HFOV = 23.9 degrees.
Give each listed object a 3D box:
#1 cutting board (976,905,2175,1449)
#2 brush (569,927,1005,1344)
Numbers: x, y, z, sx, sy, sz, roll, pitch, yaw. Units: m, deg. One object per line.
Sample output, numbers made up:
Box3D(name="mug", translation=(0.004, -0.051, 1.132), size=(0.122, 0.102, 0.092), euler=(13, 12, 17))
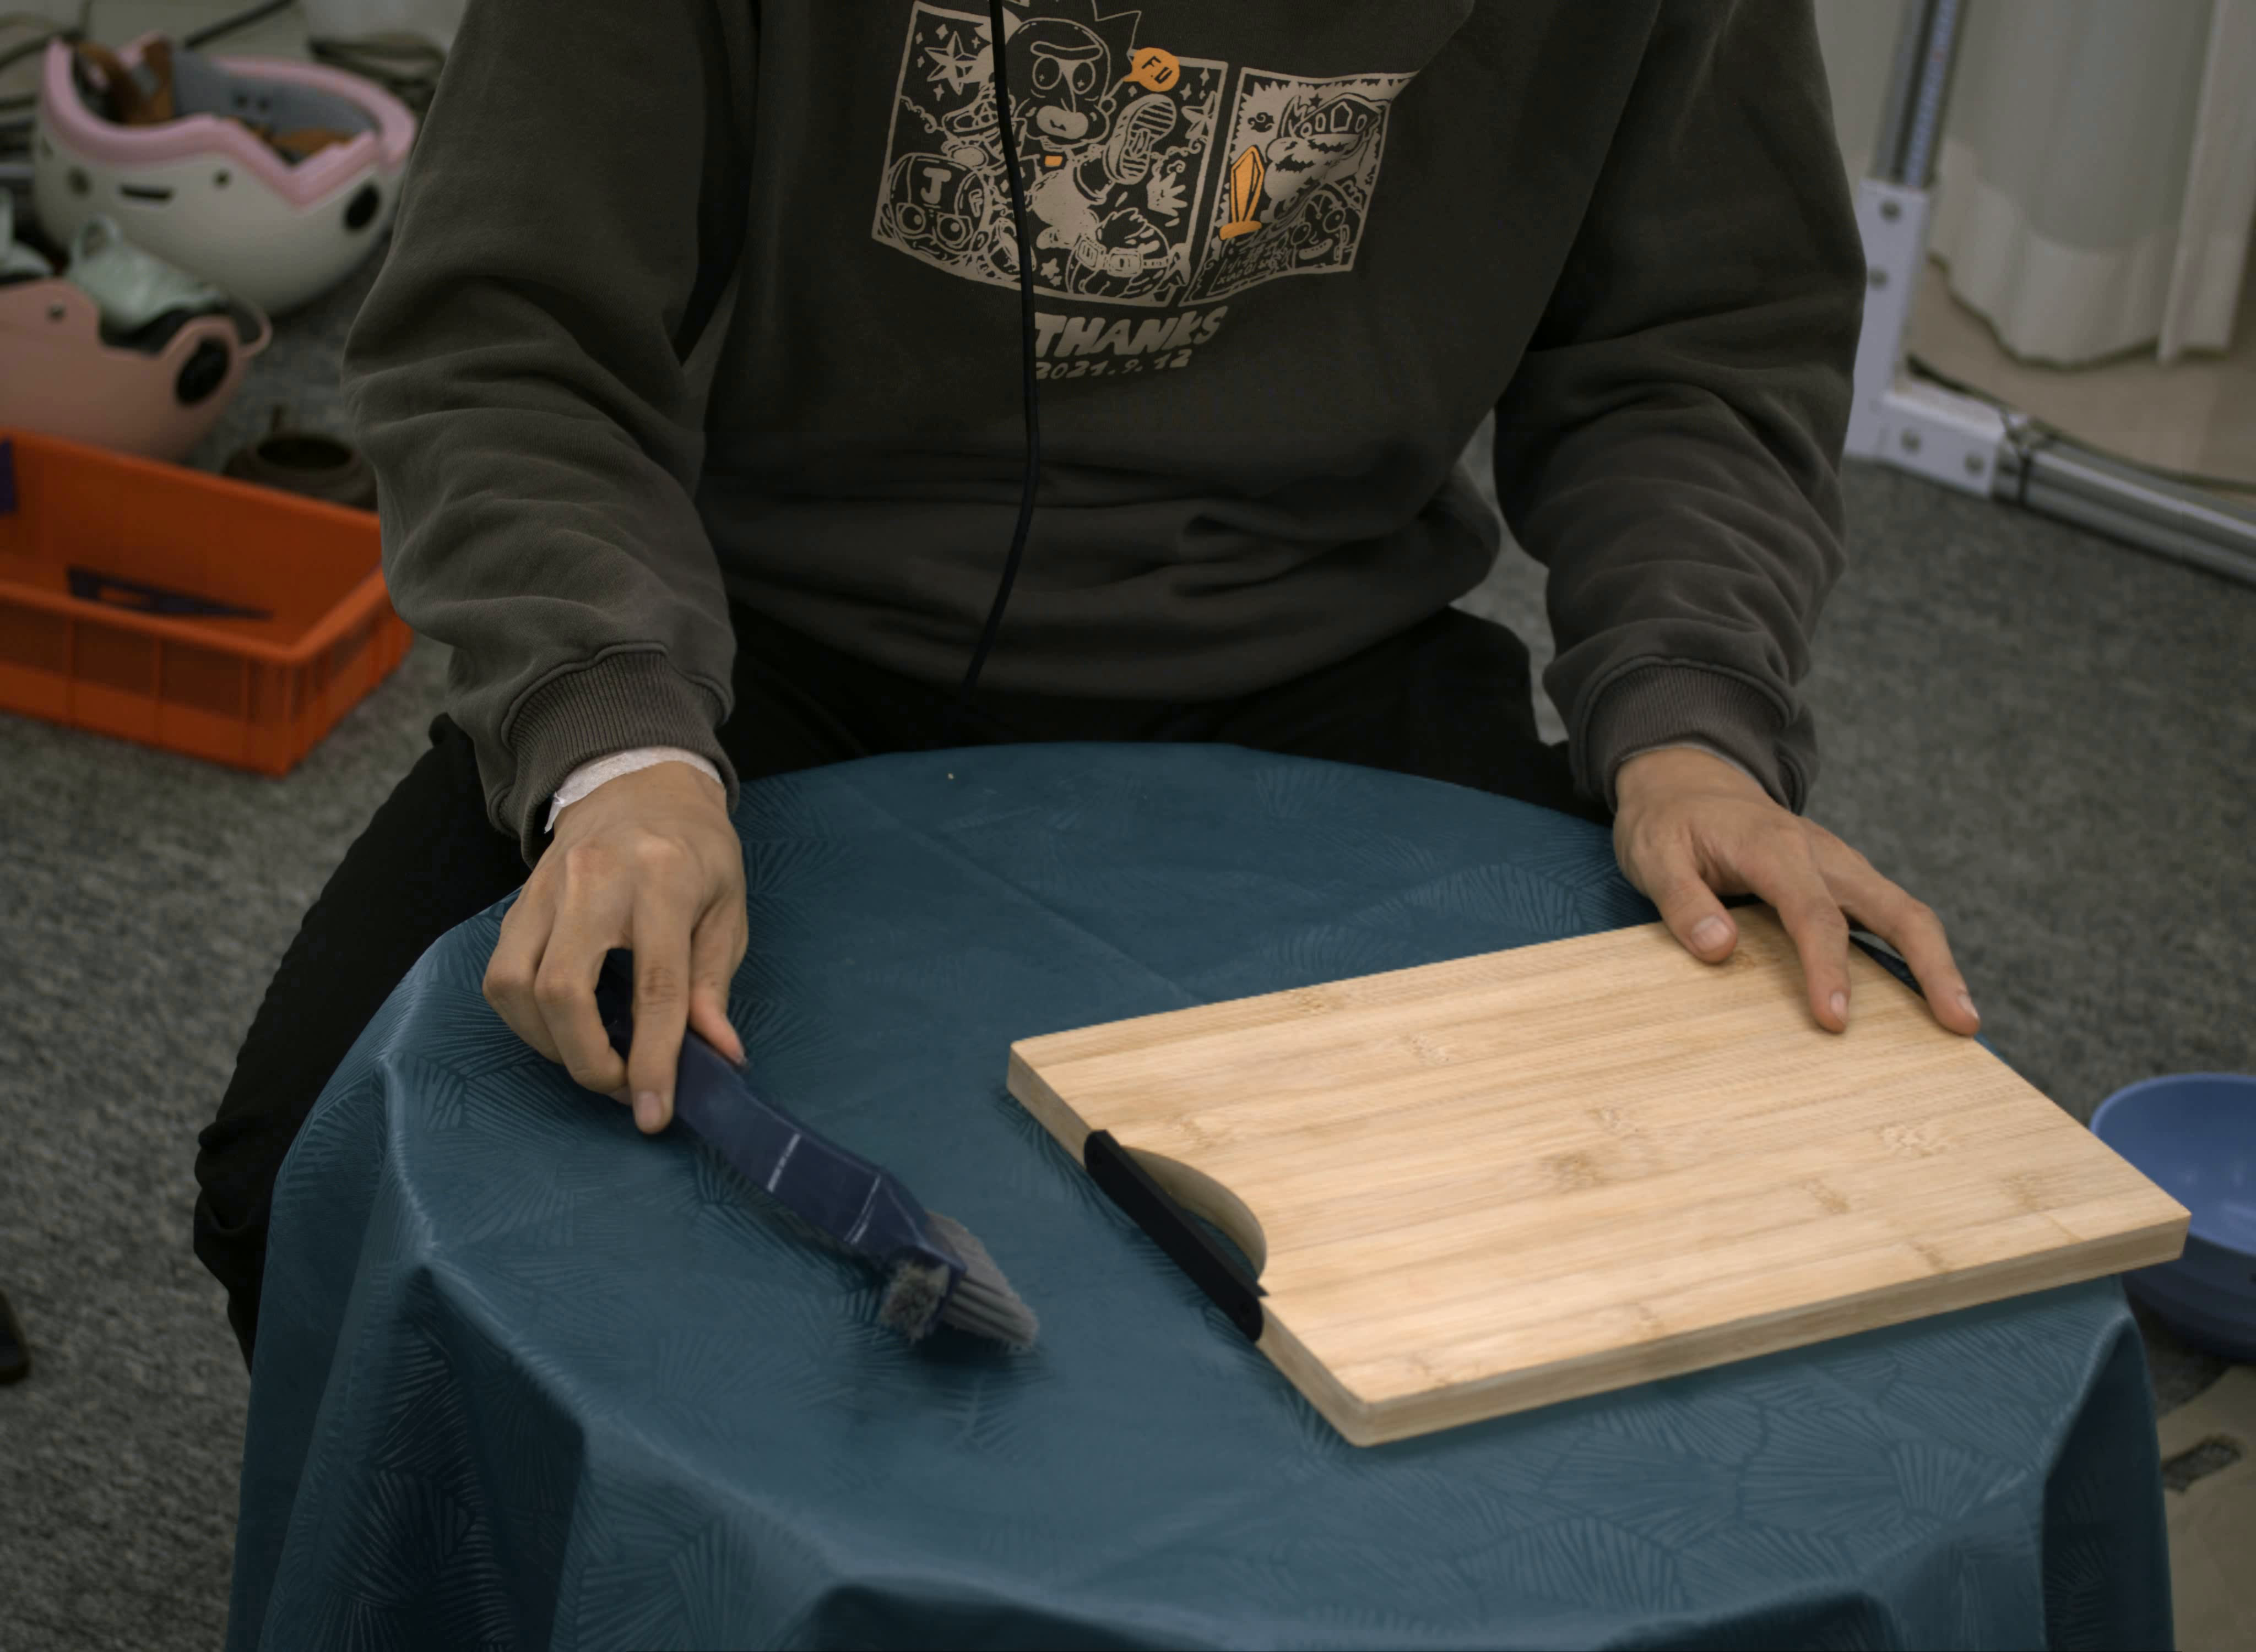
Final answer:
Box3D(name="cutting board", translation=(0.156, 0.114, 1.840), size=(0.346, 0.023, 0.253), euler=(-9, 30, -29))
Box3D(name="brush", translation=(-0.128, 0.099, 1.768), size=(0.095, 0.033, 0.275), euler=(18, 11, -46))
